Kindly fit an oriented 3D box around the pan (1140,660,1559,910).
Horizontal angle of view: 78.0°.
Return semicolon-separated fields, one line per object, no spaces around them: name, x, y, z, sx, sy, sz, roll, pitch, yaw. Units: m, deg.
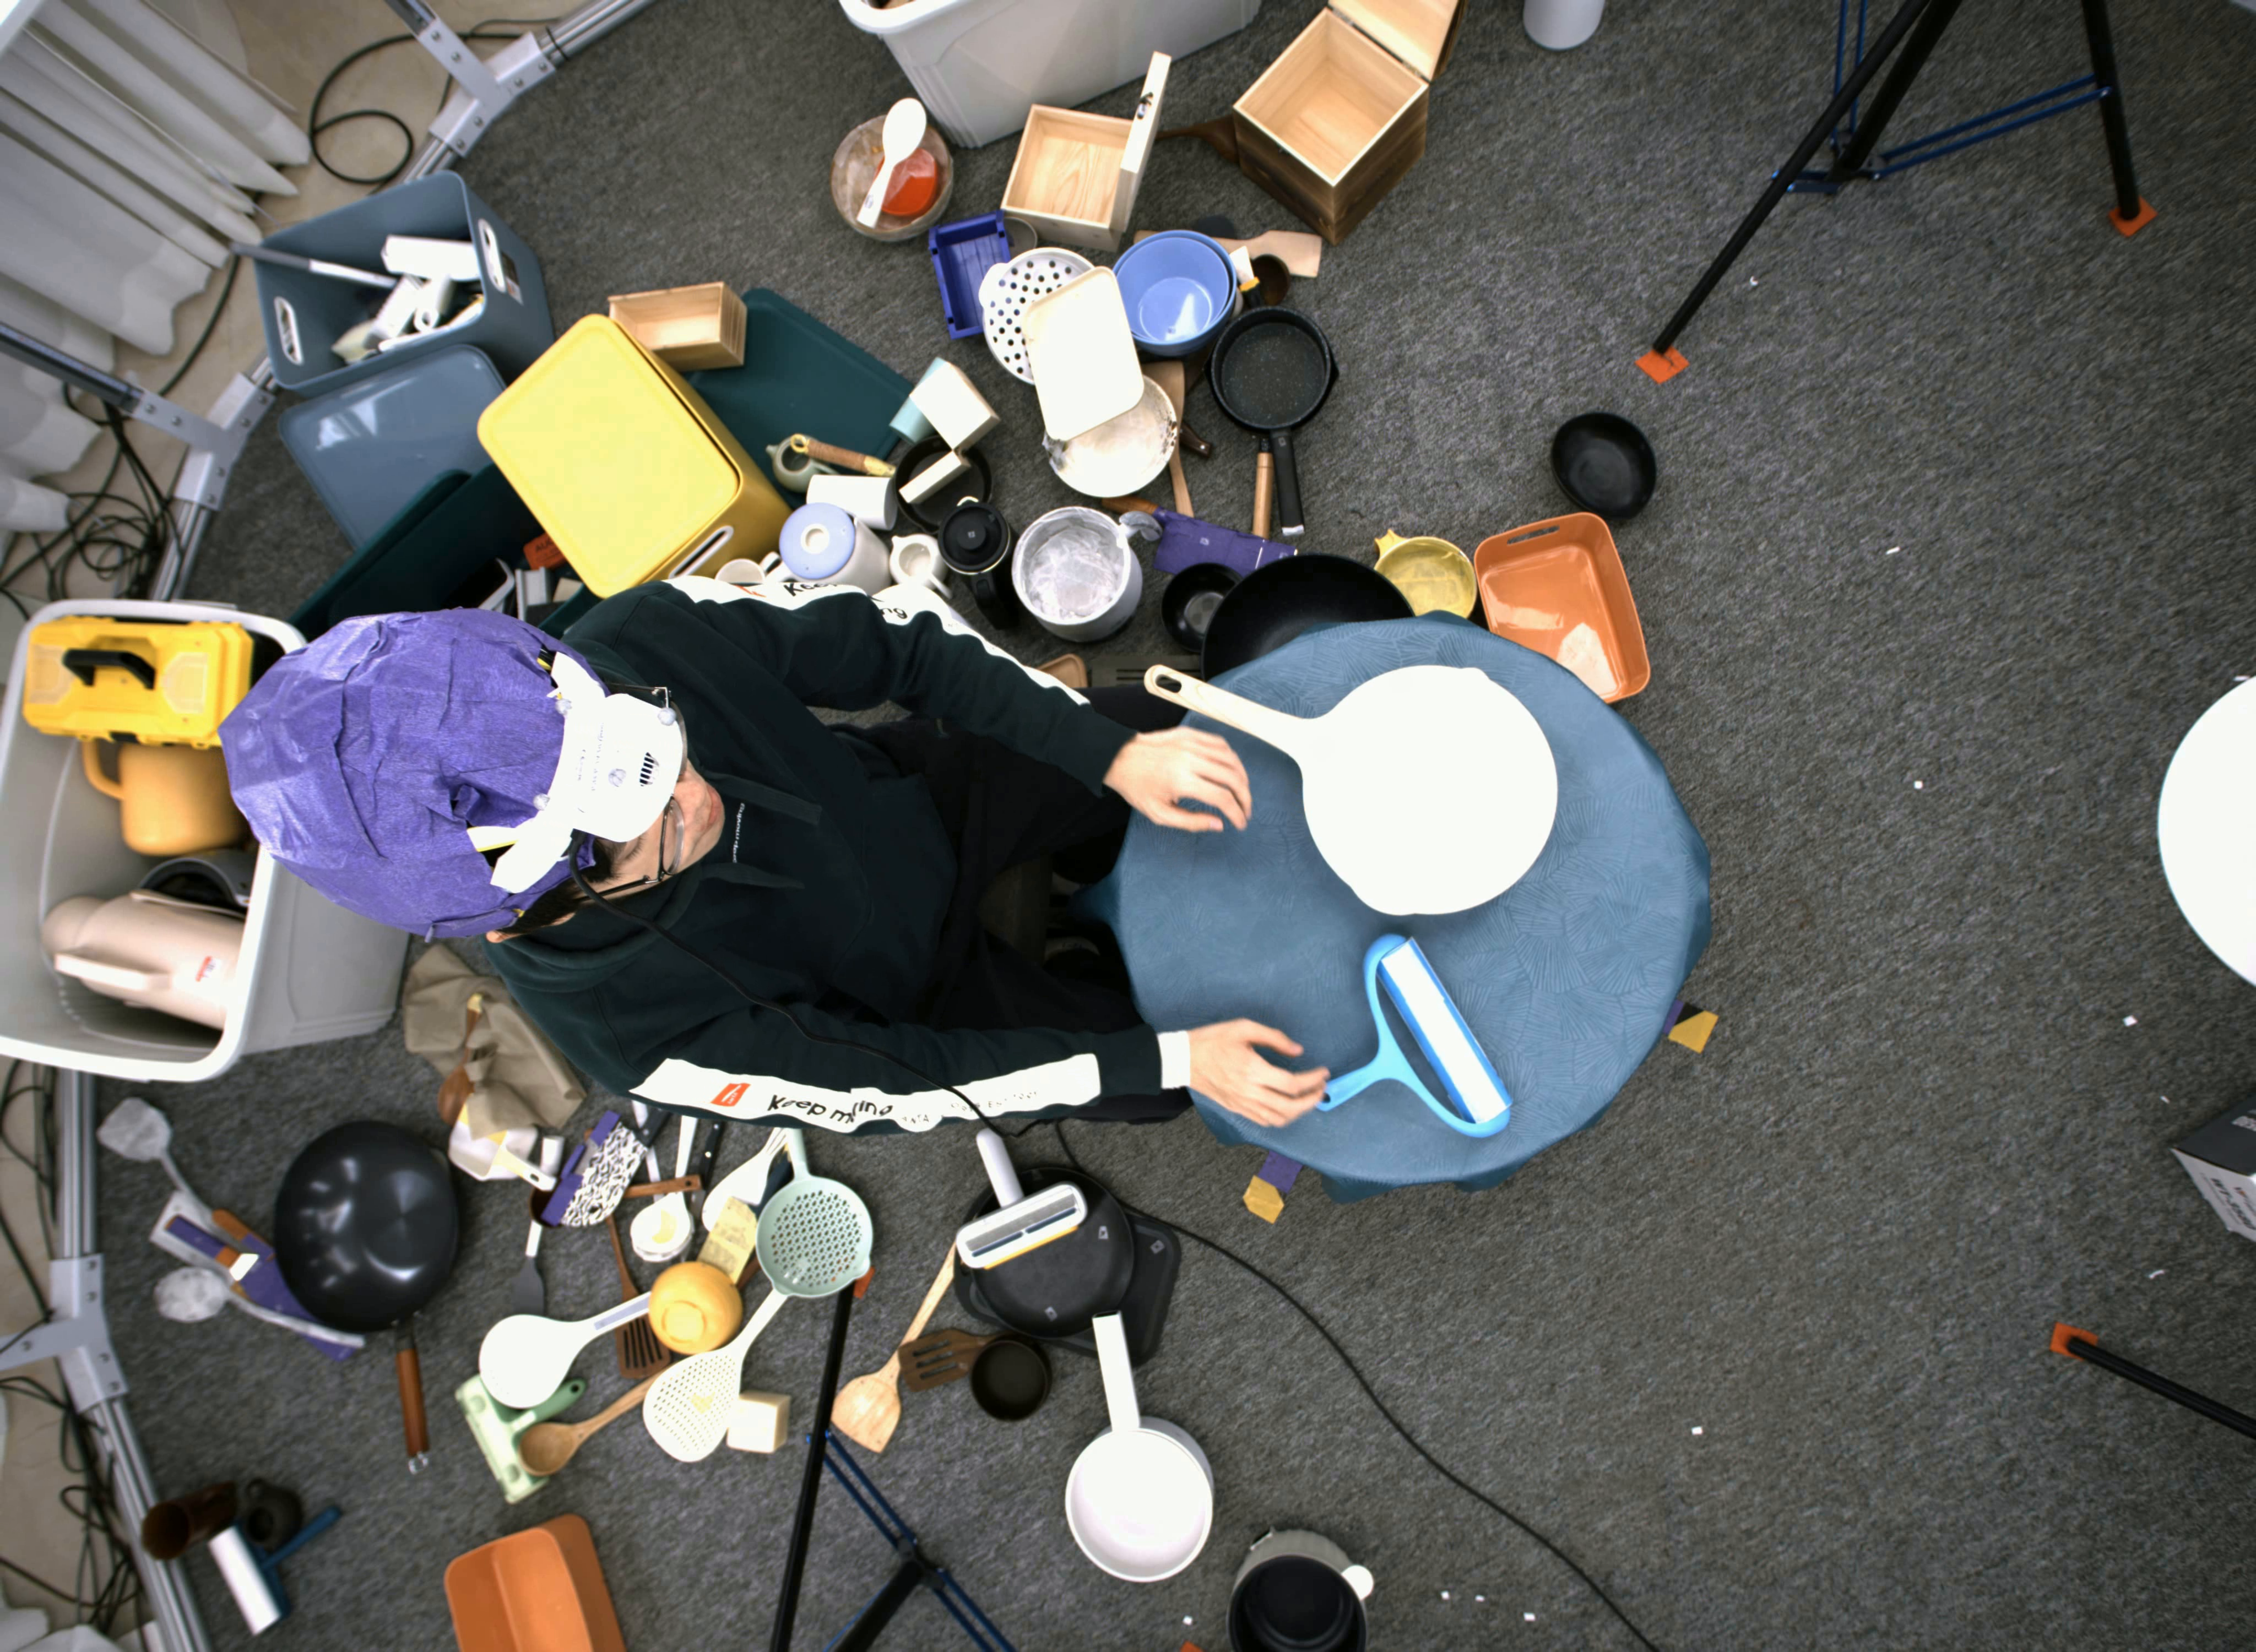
pan;0.222;-0.073;1.421;0.435;0.102;0.263;21;92;11

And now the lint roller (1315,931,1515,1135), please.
lint roller;0.272;0.240;1.417;0.181;0.068;0.228;-34;83;7
